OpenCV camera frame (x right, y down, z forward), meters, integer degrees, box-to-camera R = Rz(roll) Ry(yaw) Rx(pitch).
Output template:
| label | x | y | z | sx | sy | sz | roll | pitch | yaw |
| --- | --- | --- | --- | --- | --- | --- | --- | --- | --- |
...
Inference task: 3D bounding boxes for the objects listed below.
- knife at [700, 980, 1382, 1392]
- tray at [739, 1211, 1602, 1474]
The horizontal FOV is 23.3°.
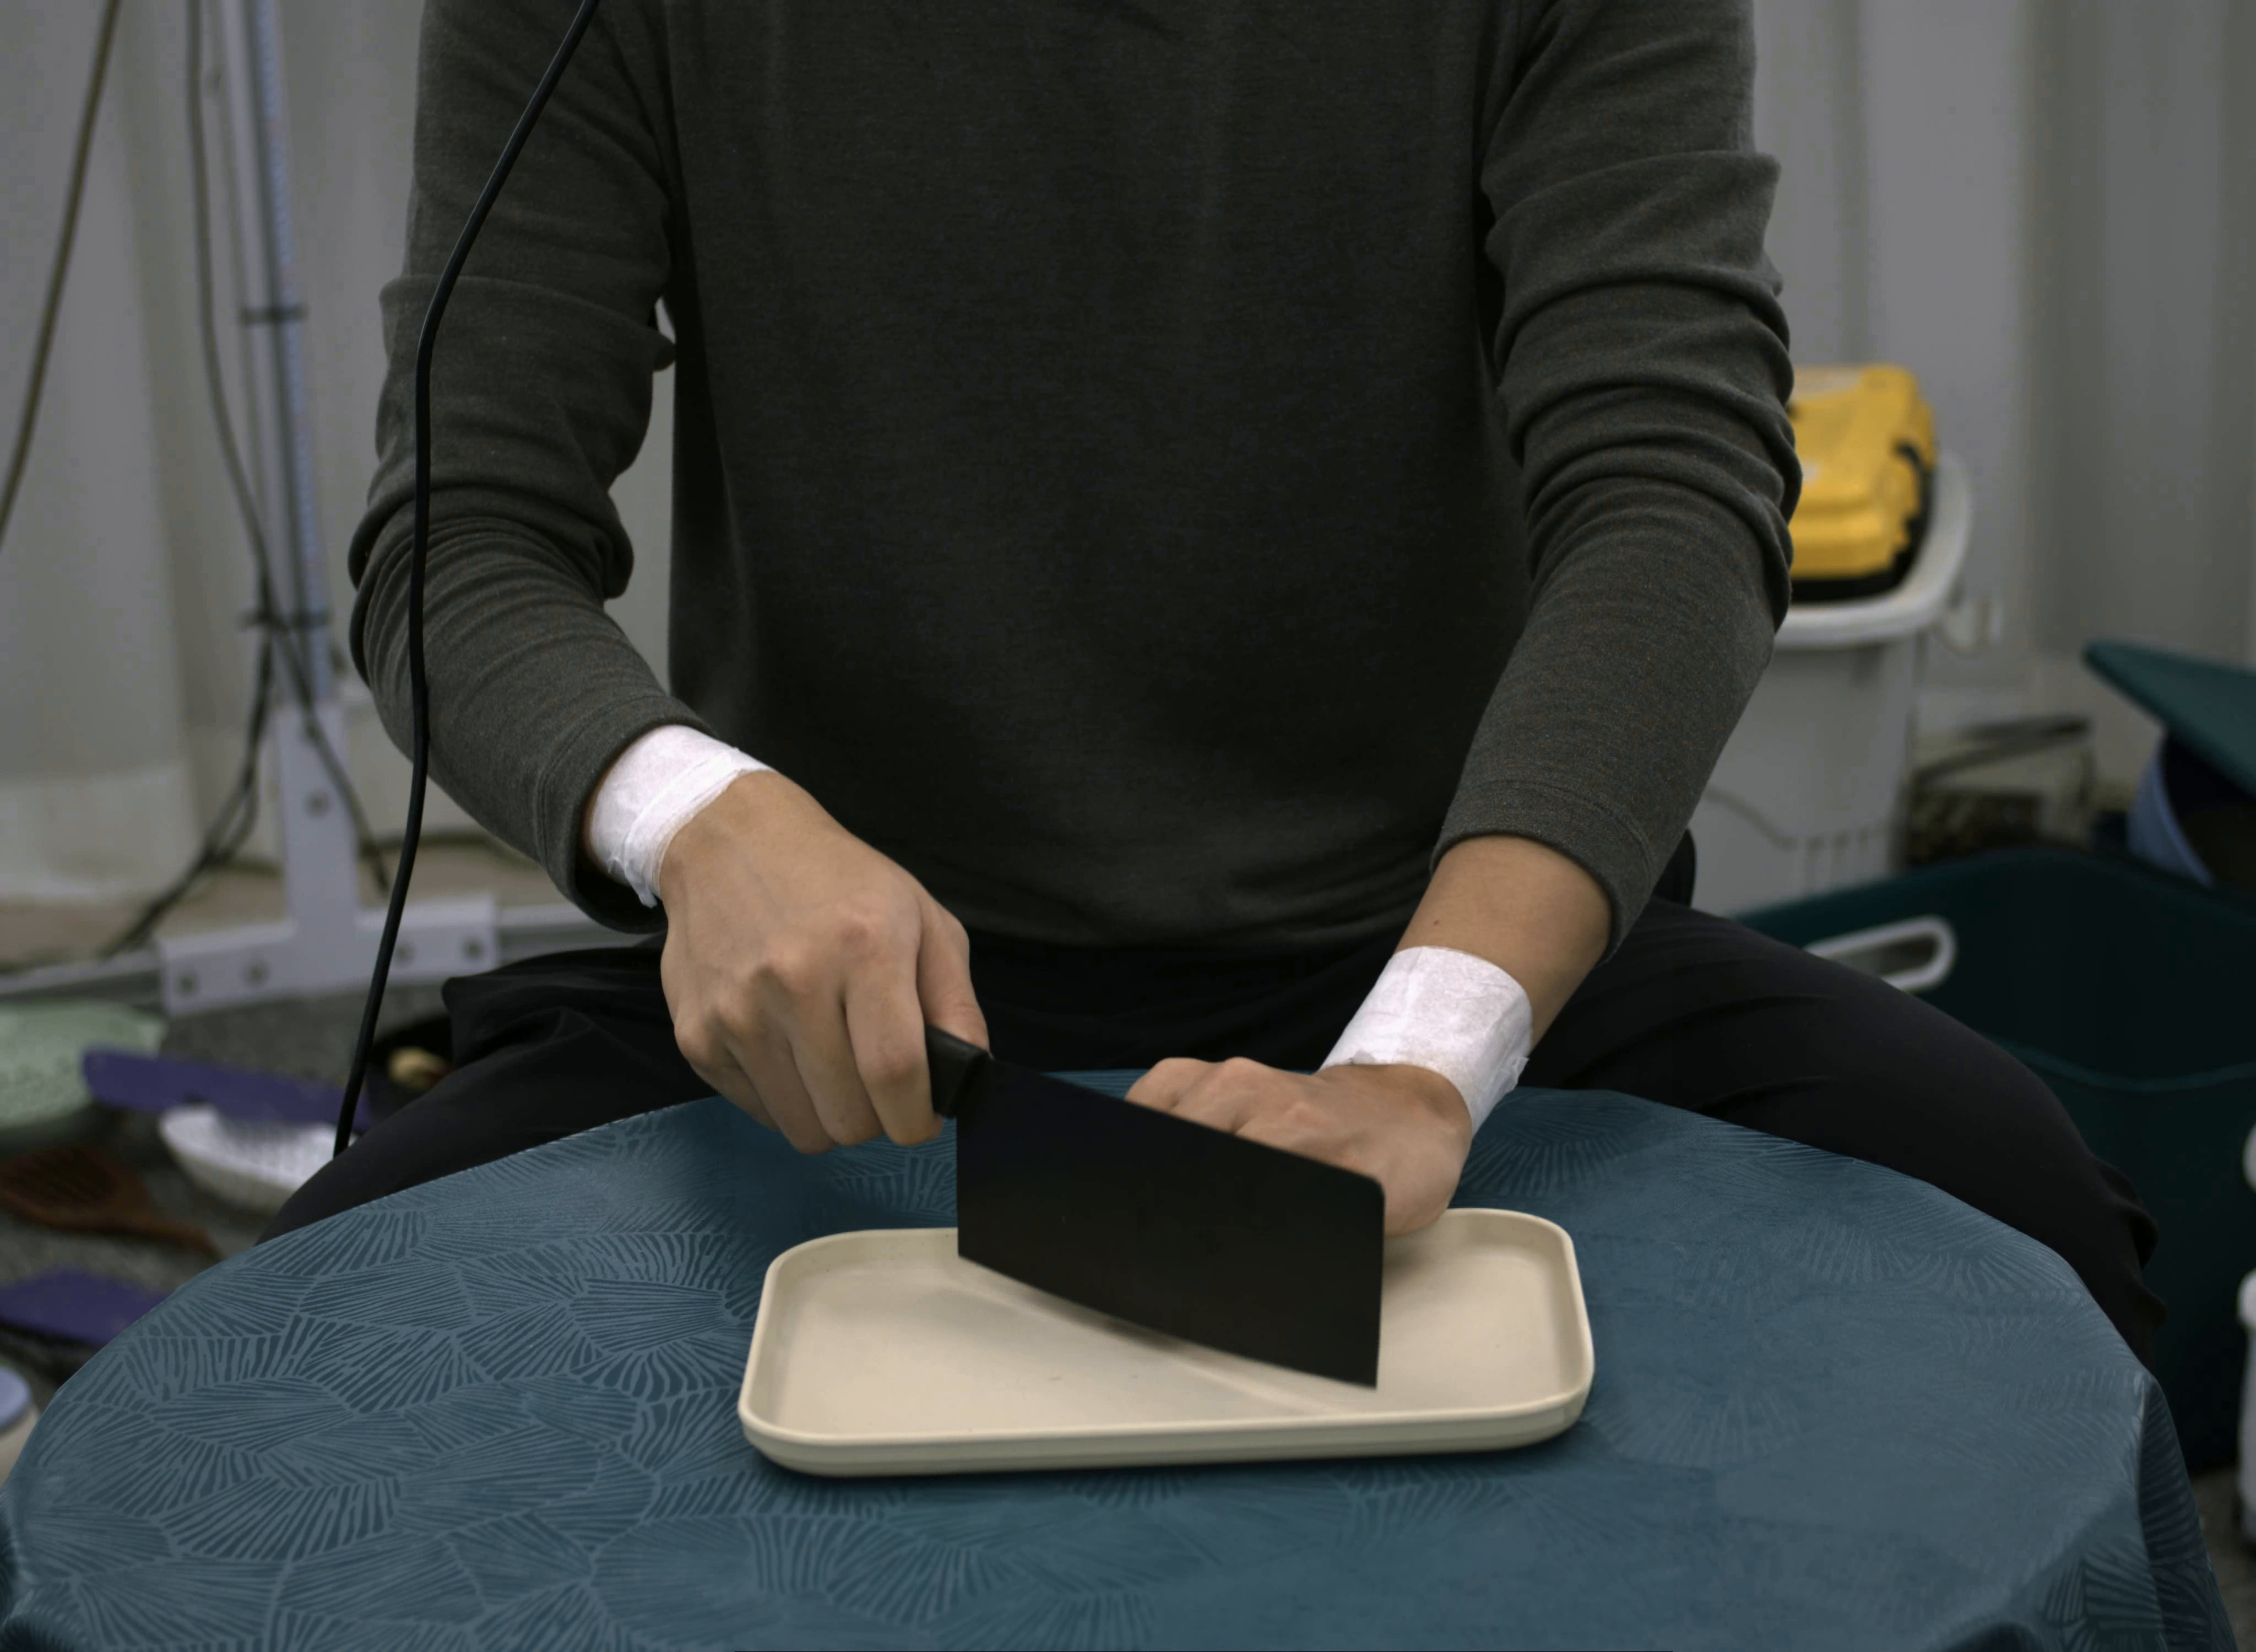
| label | x | y | z | sx | sy | sz | roll | pitch | yaw |
| --- | --- | --- | --- | --- | --- | --- | --- | --- | --- |
| knife | -0.030 | 0.099 | 1.600 | 0.021 | 0.080 | 0.304 | -8 | 20 | -40 |
| tray | 0.012 | 0.148 | 1.557 | 0.239 | 0.017 | 0.172 | -3 | 14 | 2 |
